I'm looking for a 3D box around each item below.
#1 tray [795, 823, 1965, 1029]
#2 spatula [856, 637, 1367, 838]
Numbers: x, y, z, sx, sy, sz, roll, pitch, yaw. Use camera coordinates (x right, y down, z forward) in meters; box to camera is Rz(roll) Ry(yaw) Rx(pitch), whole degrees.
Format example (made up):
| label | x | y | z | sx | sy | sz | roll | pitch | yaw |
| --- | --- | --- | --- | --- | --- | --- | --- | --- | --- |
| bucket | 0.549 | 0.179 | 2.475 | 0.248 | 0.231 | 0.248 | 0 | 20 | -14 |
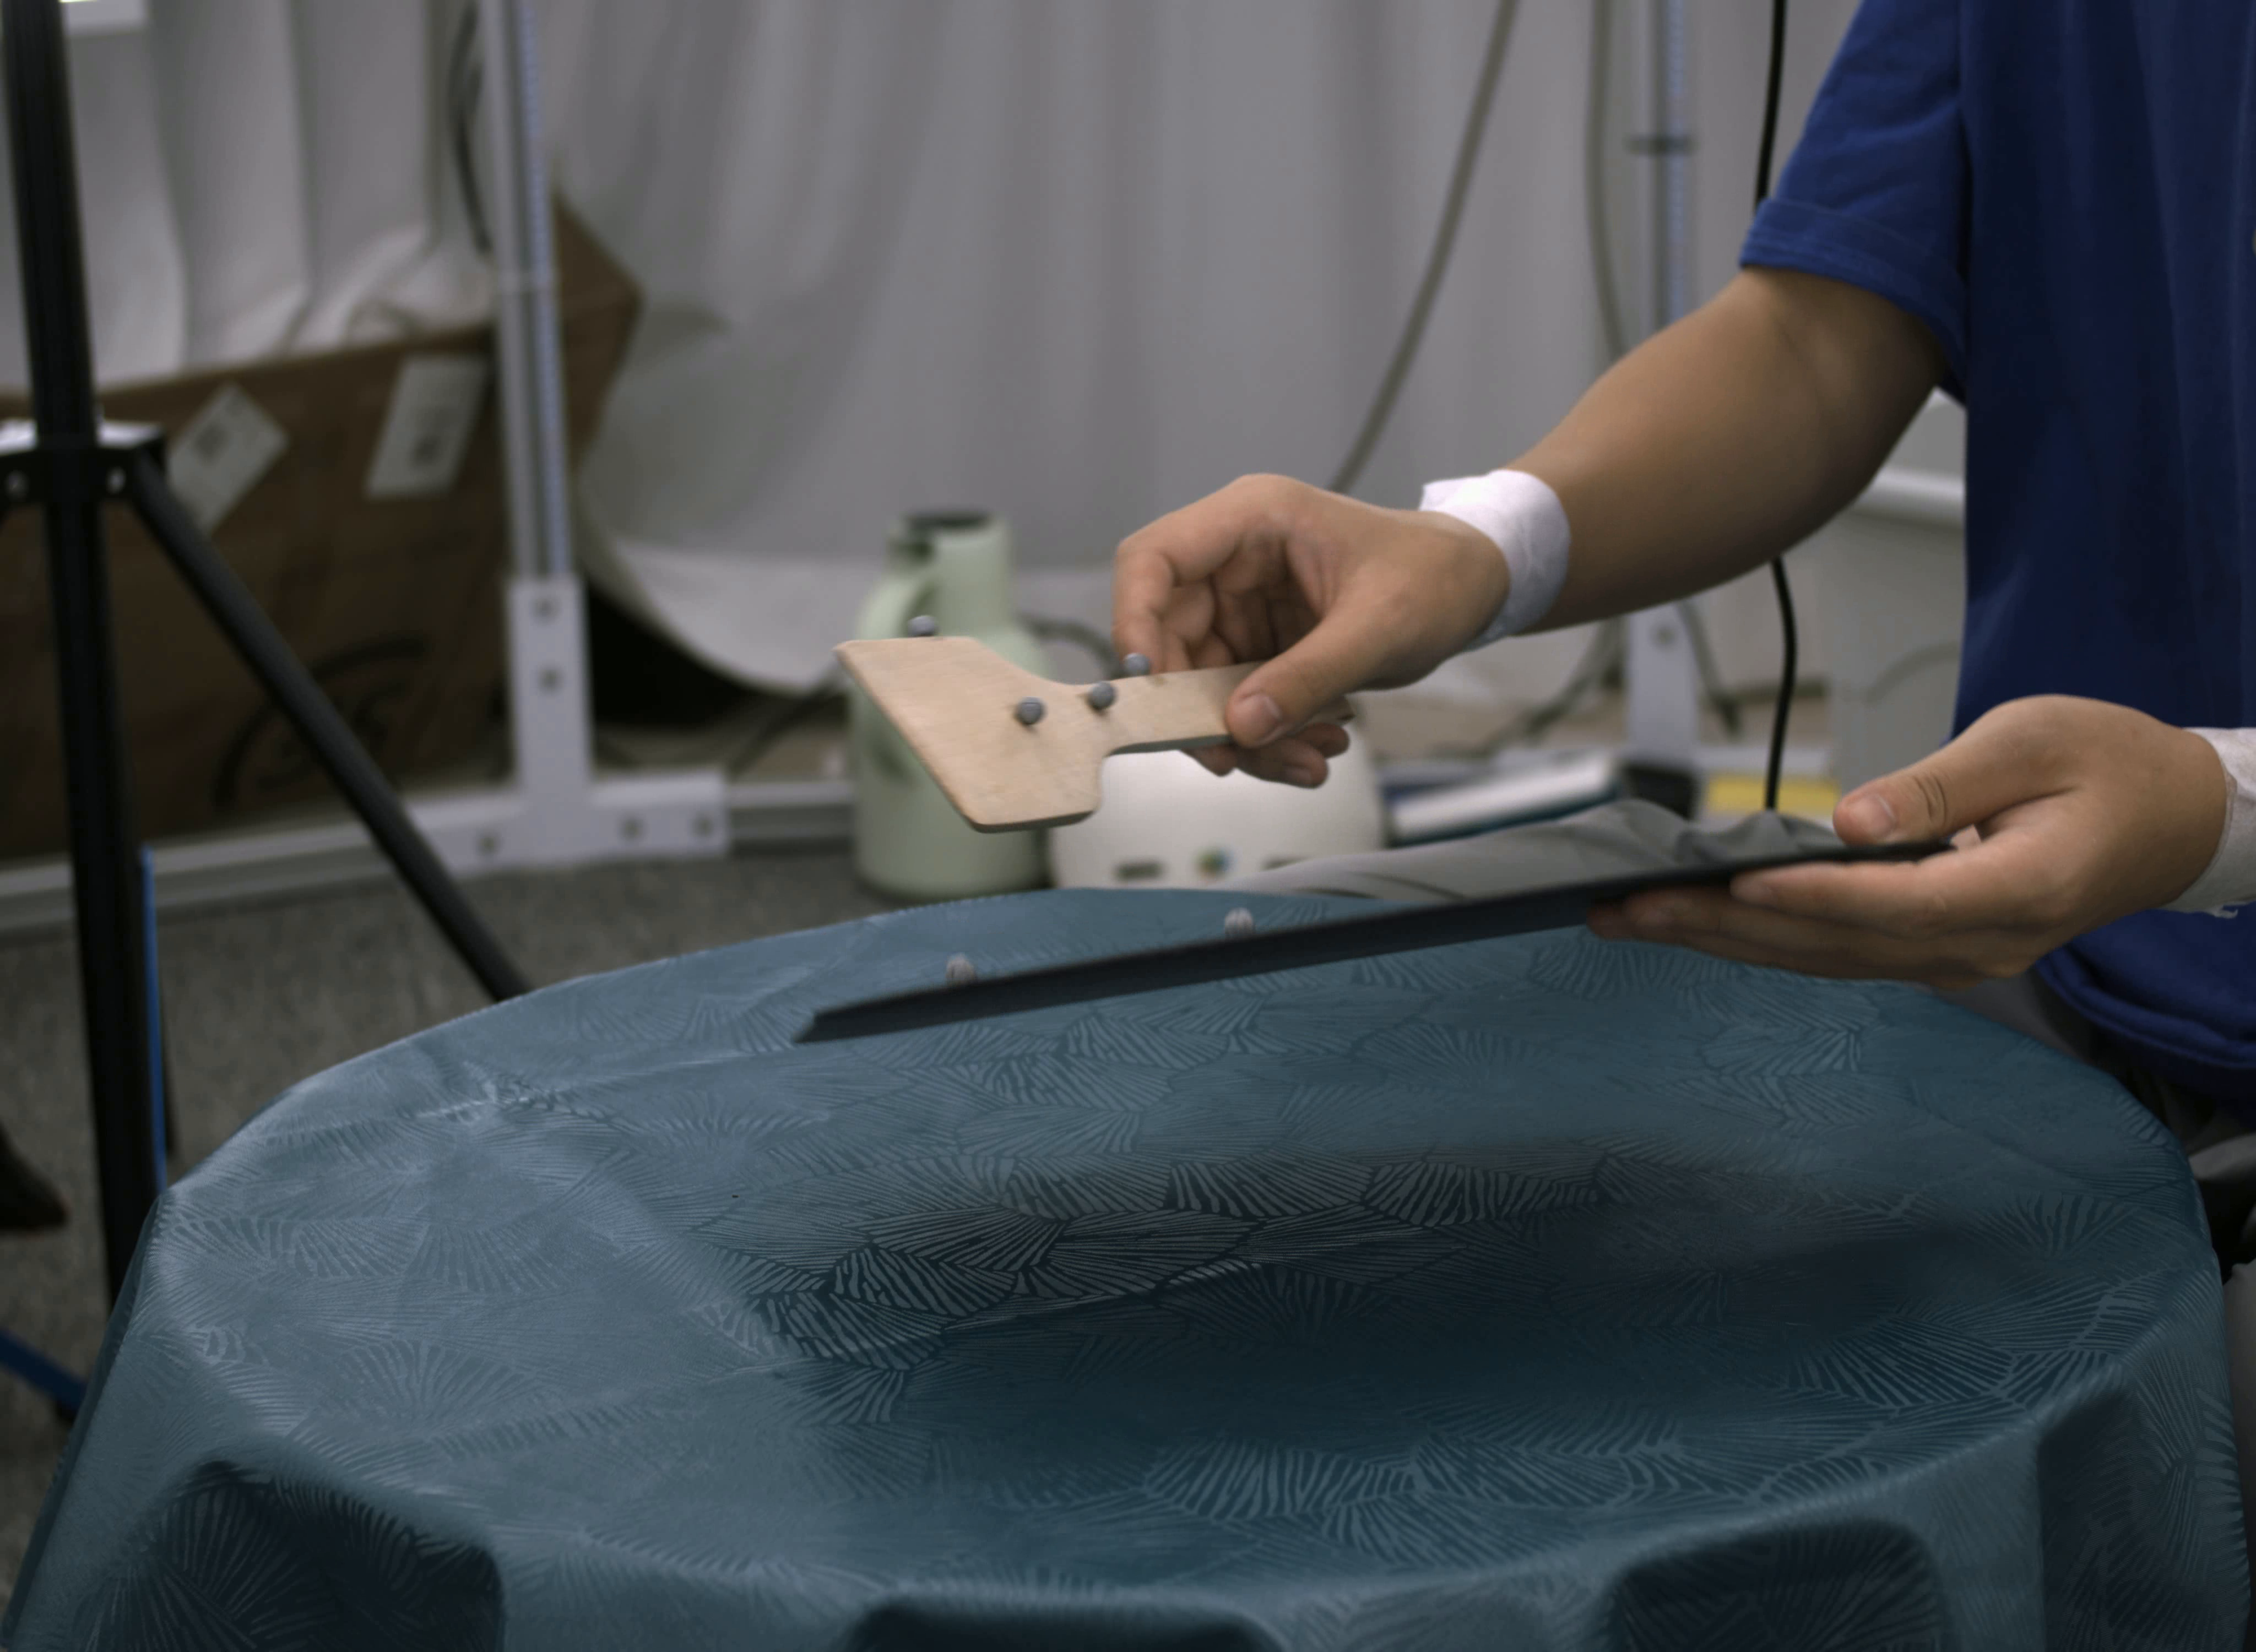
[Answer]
| label | x | y | z | sx | sy | sz | roll | pitch | yaw |
| --- | --- | --- | --- | --- | --- | --- | --- | --- | --- |
| tray | 0.069 | 0.028 | 1.474 | 0.323 | 0.010 | 0.211 | -8 | -4 | -5 |
| spatula | 0.005 | -0.034 | 1.629 | 0.073 | 0.011 | 0.287 | 52 | 24 | 14 |
